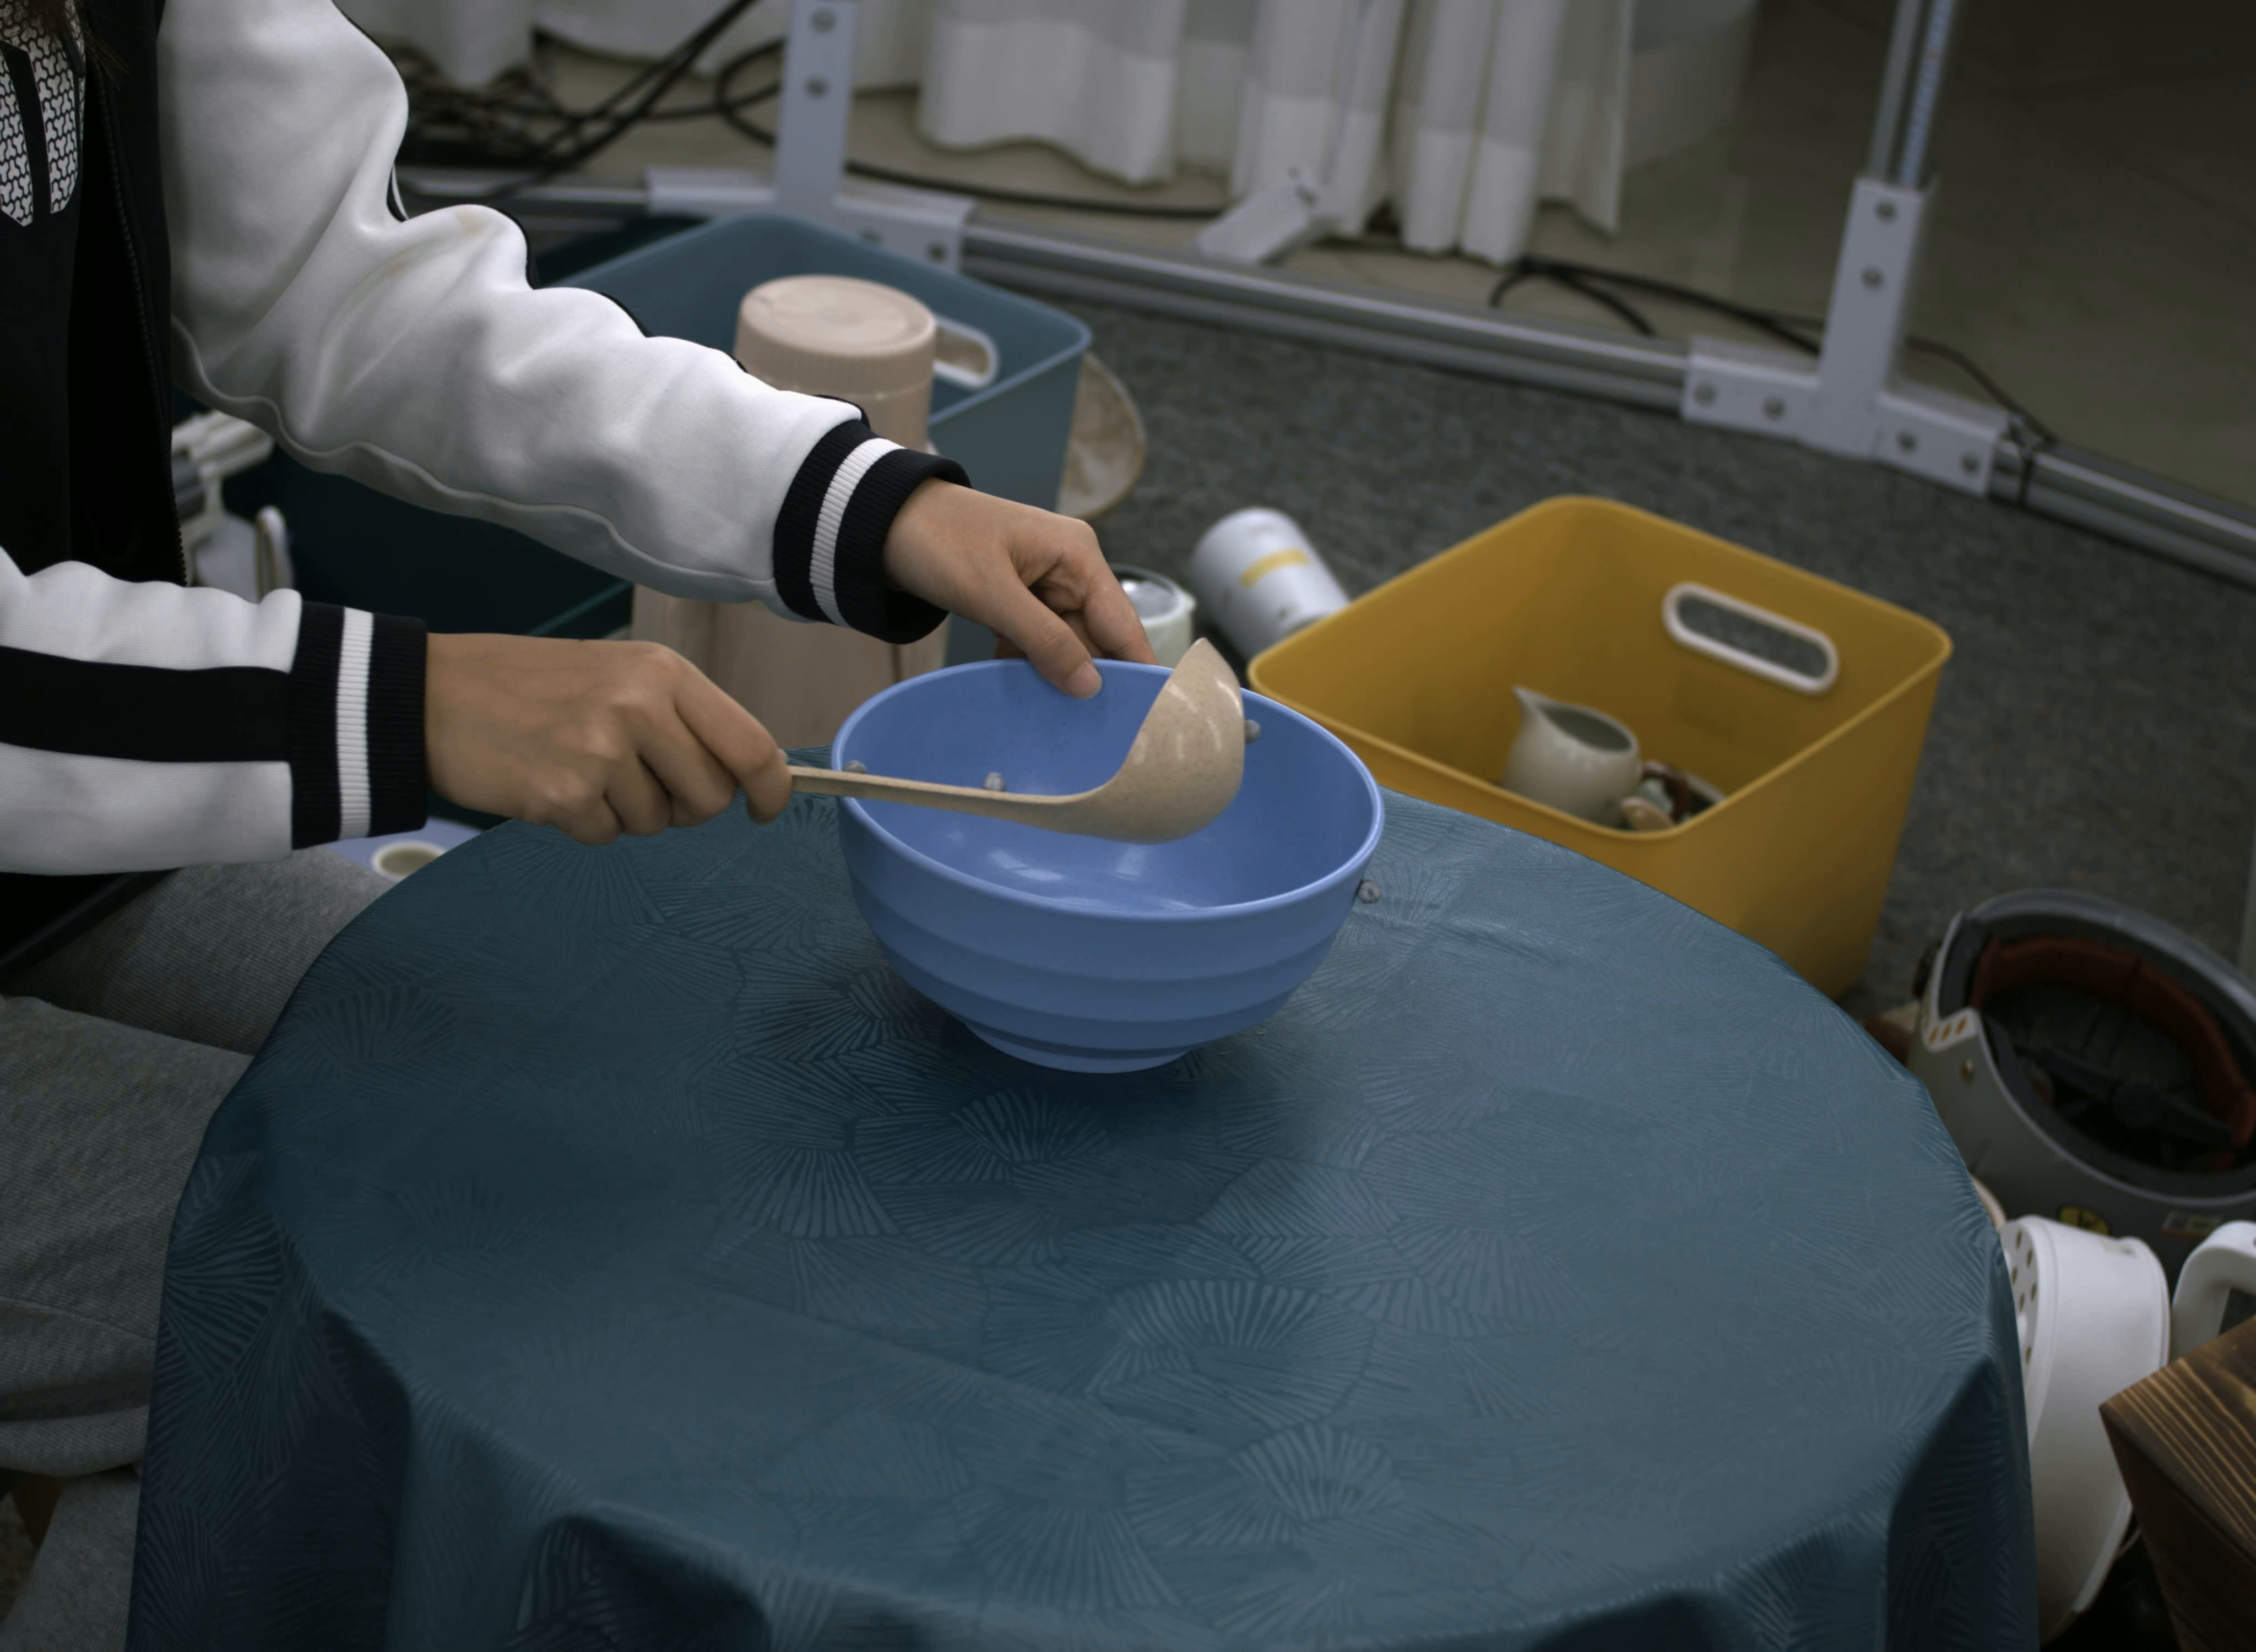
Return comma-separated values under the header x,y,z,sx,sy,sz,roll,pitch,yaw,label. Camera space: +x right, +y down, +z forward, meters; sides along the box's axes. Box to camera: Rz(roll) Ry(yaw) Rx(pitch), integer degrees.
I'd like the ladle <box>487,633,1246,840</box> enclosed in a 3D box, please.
x,y,z,sx,sy,sz,roll,pitch,yaw,label
-0.087,-0.039,1.799,0.253,0.072,0.073,5,68,-7,ladle

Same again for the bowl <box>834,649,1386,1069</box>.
x,y,z,sx,sy,sz,roll,pitch,yaw,label
-0.013,0.023,1.890,0.196,0.095,0.197,7,27,-4,bowl
